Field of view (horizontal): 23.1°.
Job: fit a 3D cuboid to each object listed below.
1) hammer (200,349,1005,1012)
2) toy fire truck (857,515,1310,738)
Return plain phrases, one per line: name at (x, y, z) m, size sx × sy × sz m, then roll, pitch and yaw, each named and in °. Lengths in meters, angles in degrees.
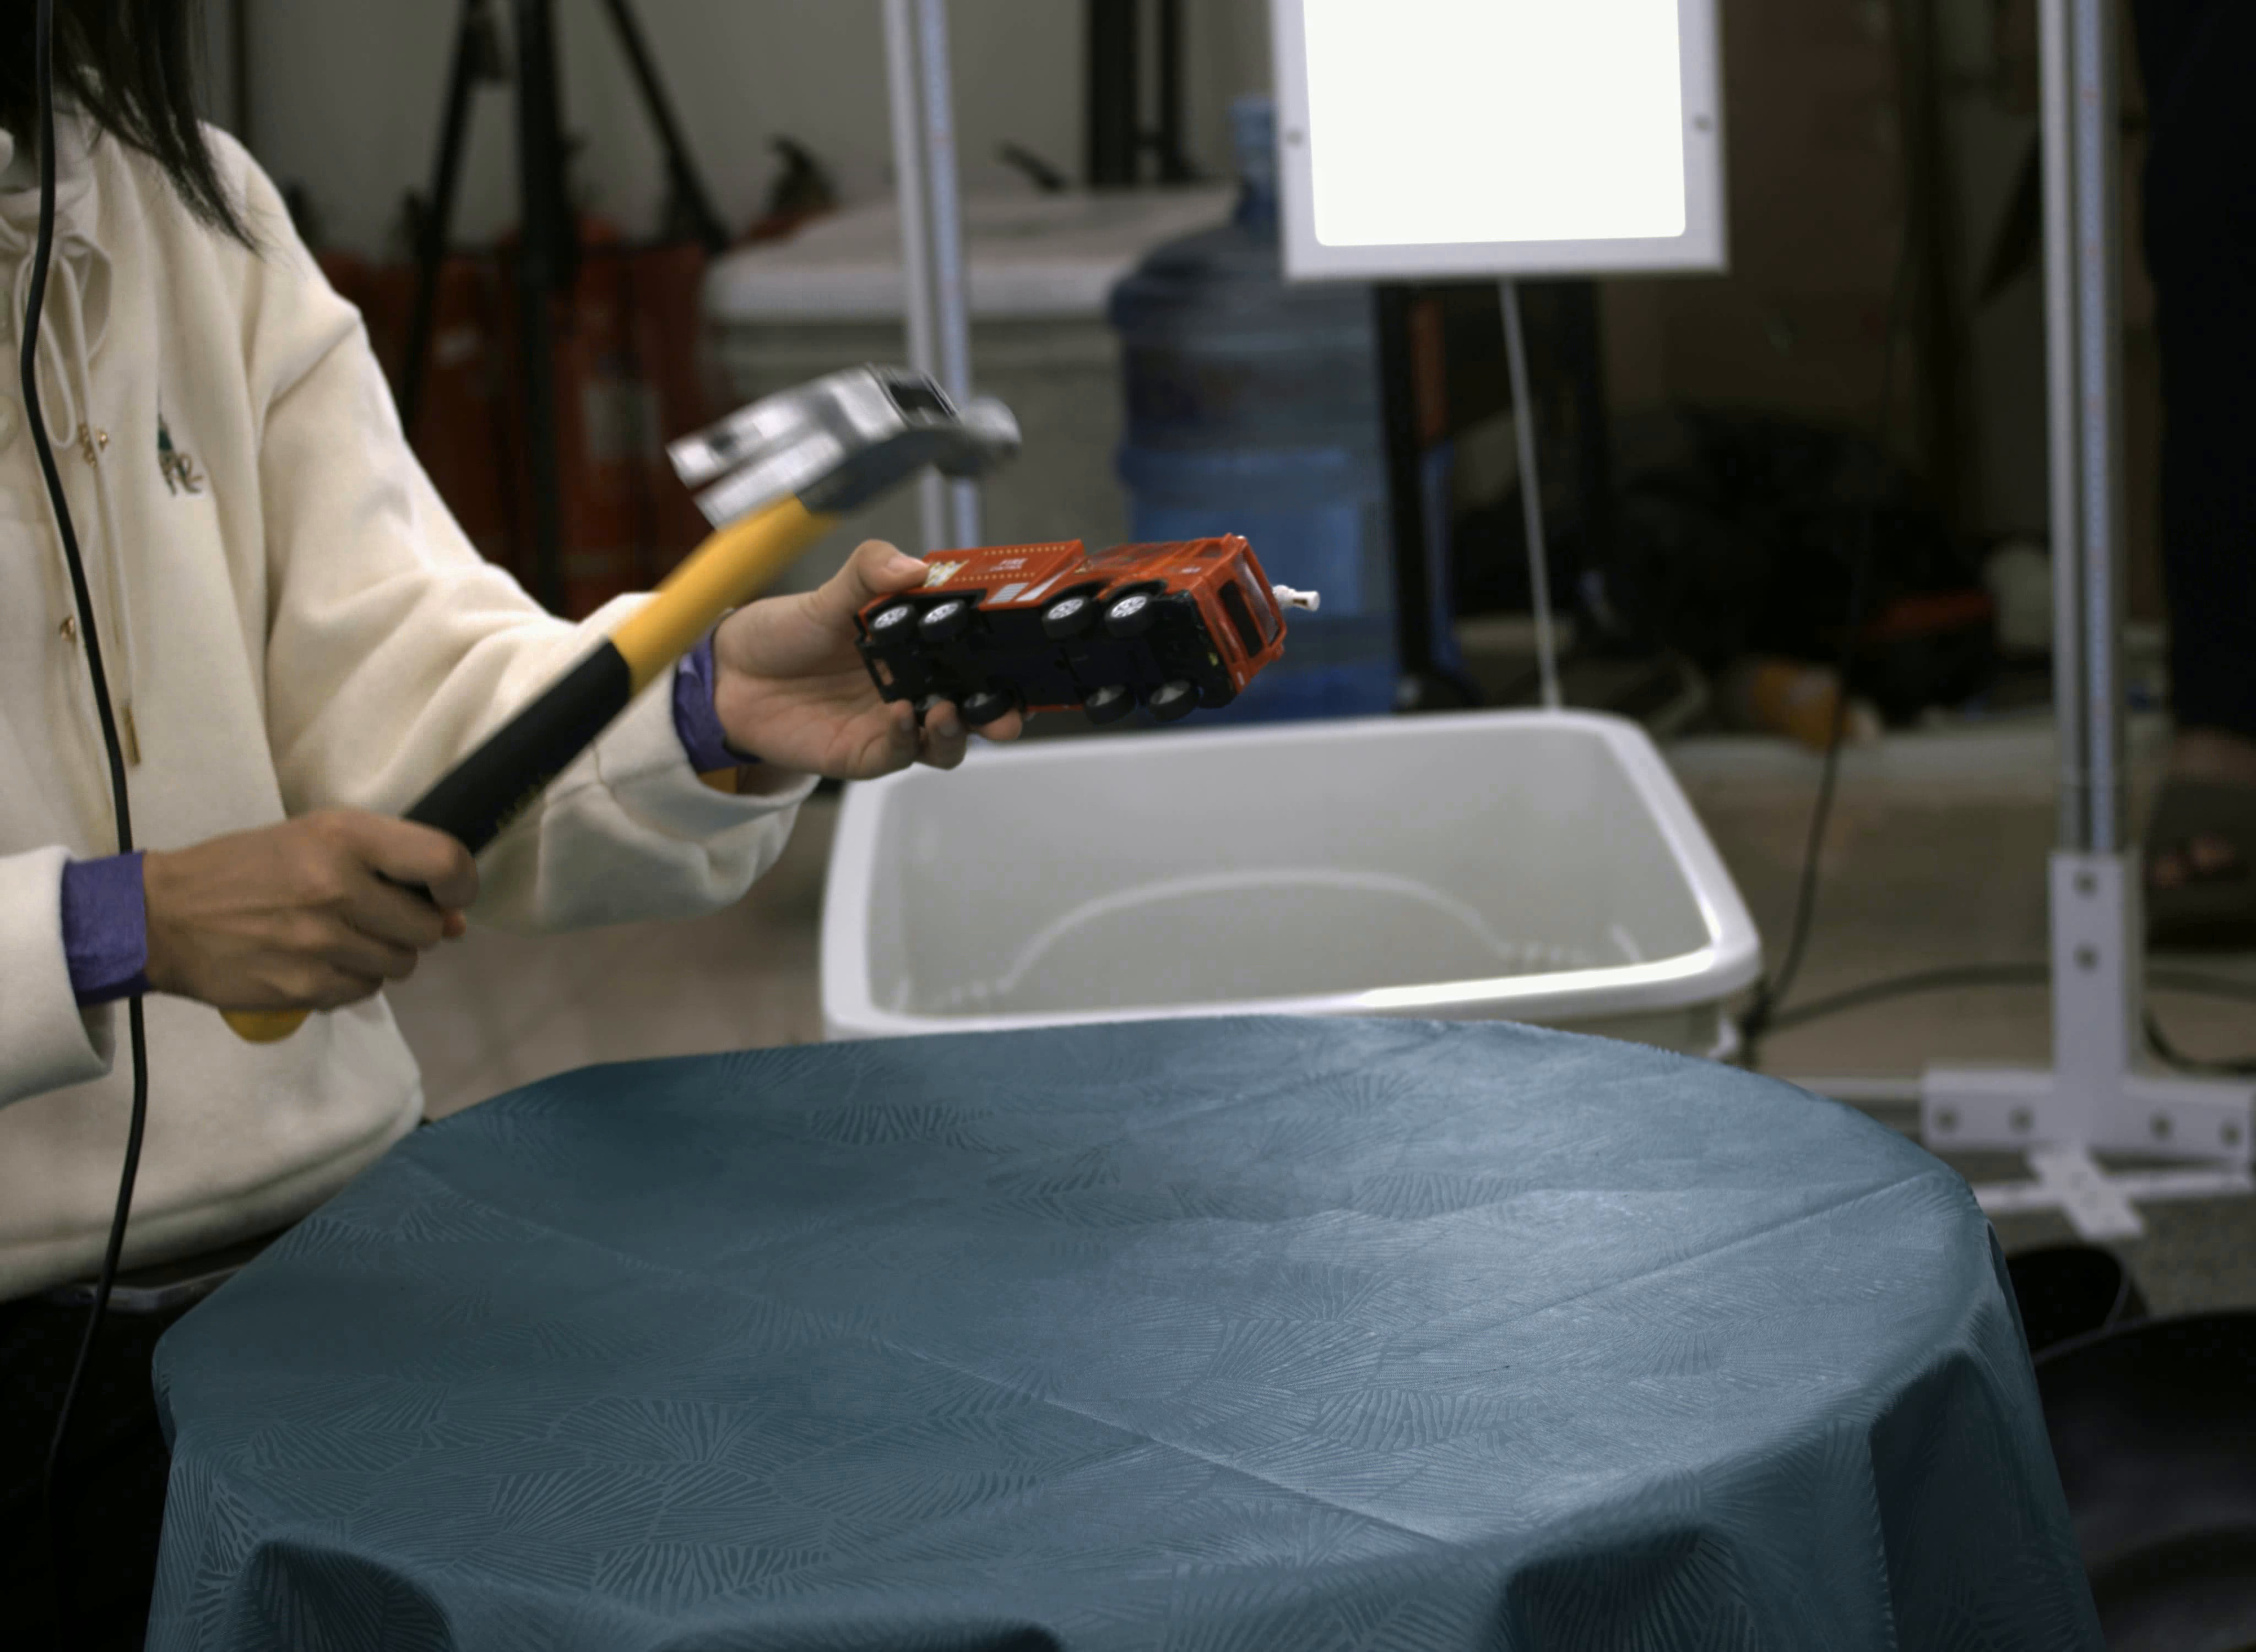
hammer at (-0.191, -0.046, 1.842) m, size 0.344 × 0.032 × 0.128 m, roll -40°, pitch -17°, yaw 25°
toy fire truck at (-0.018, -0.068, 1.879) m, size 0.172 × 0.054 × 0.069 m, roll -1°, pitch 33°, yaw 45°
